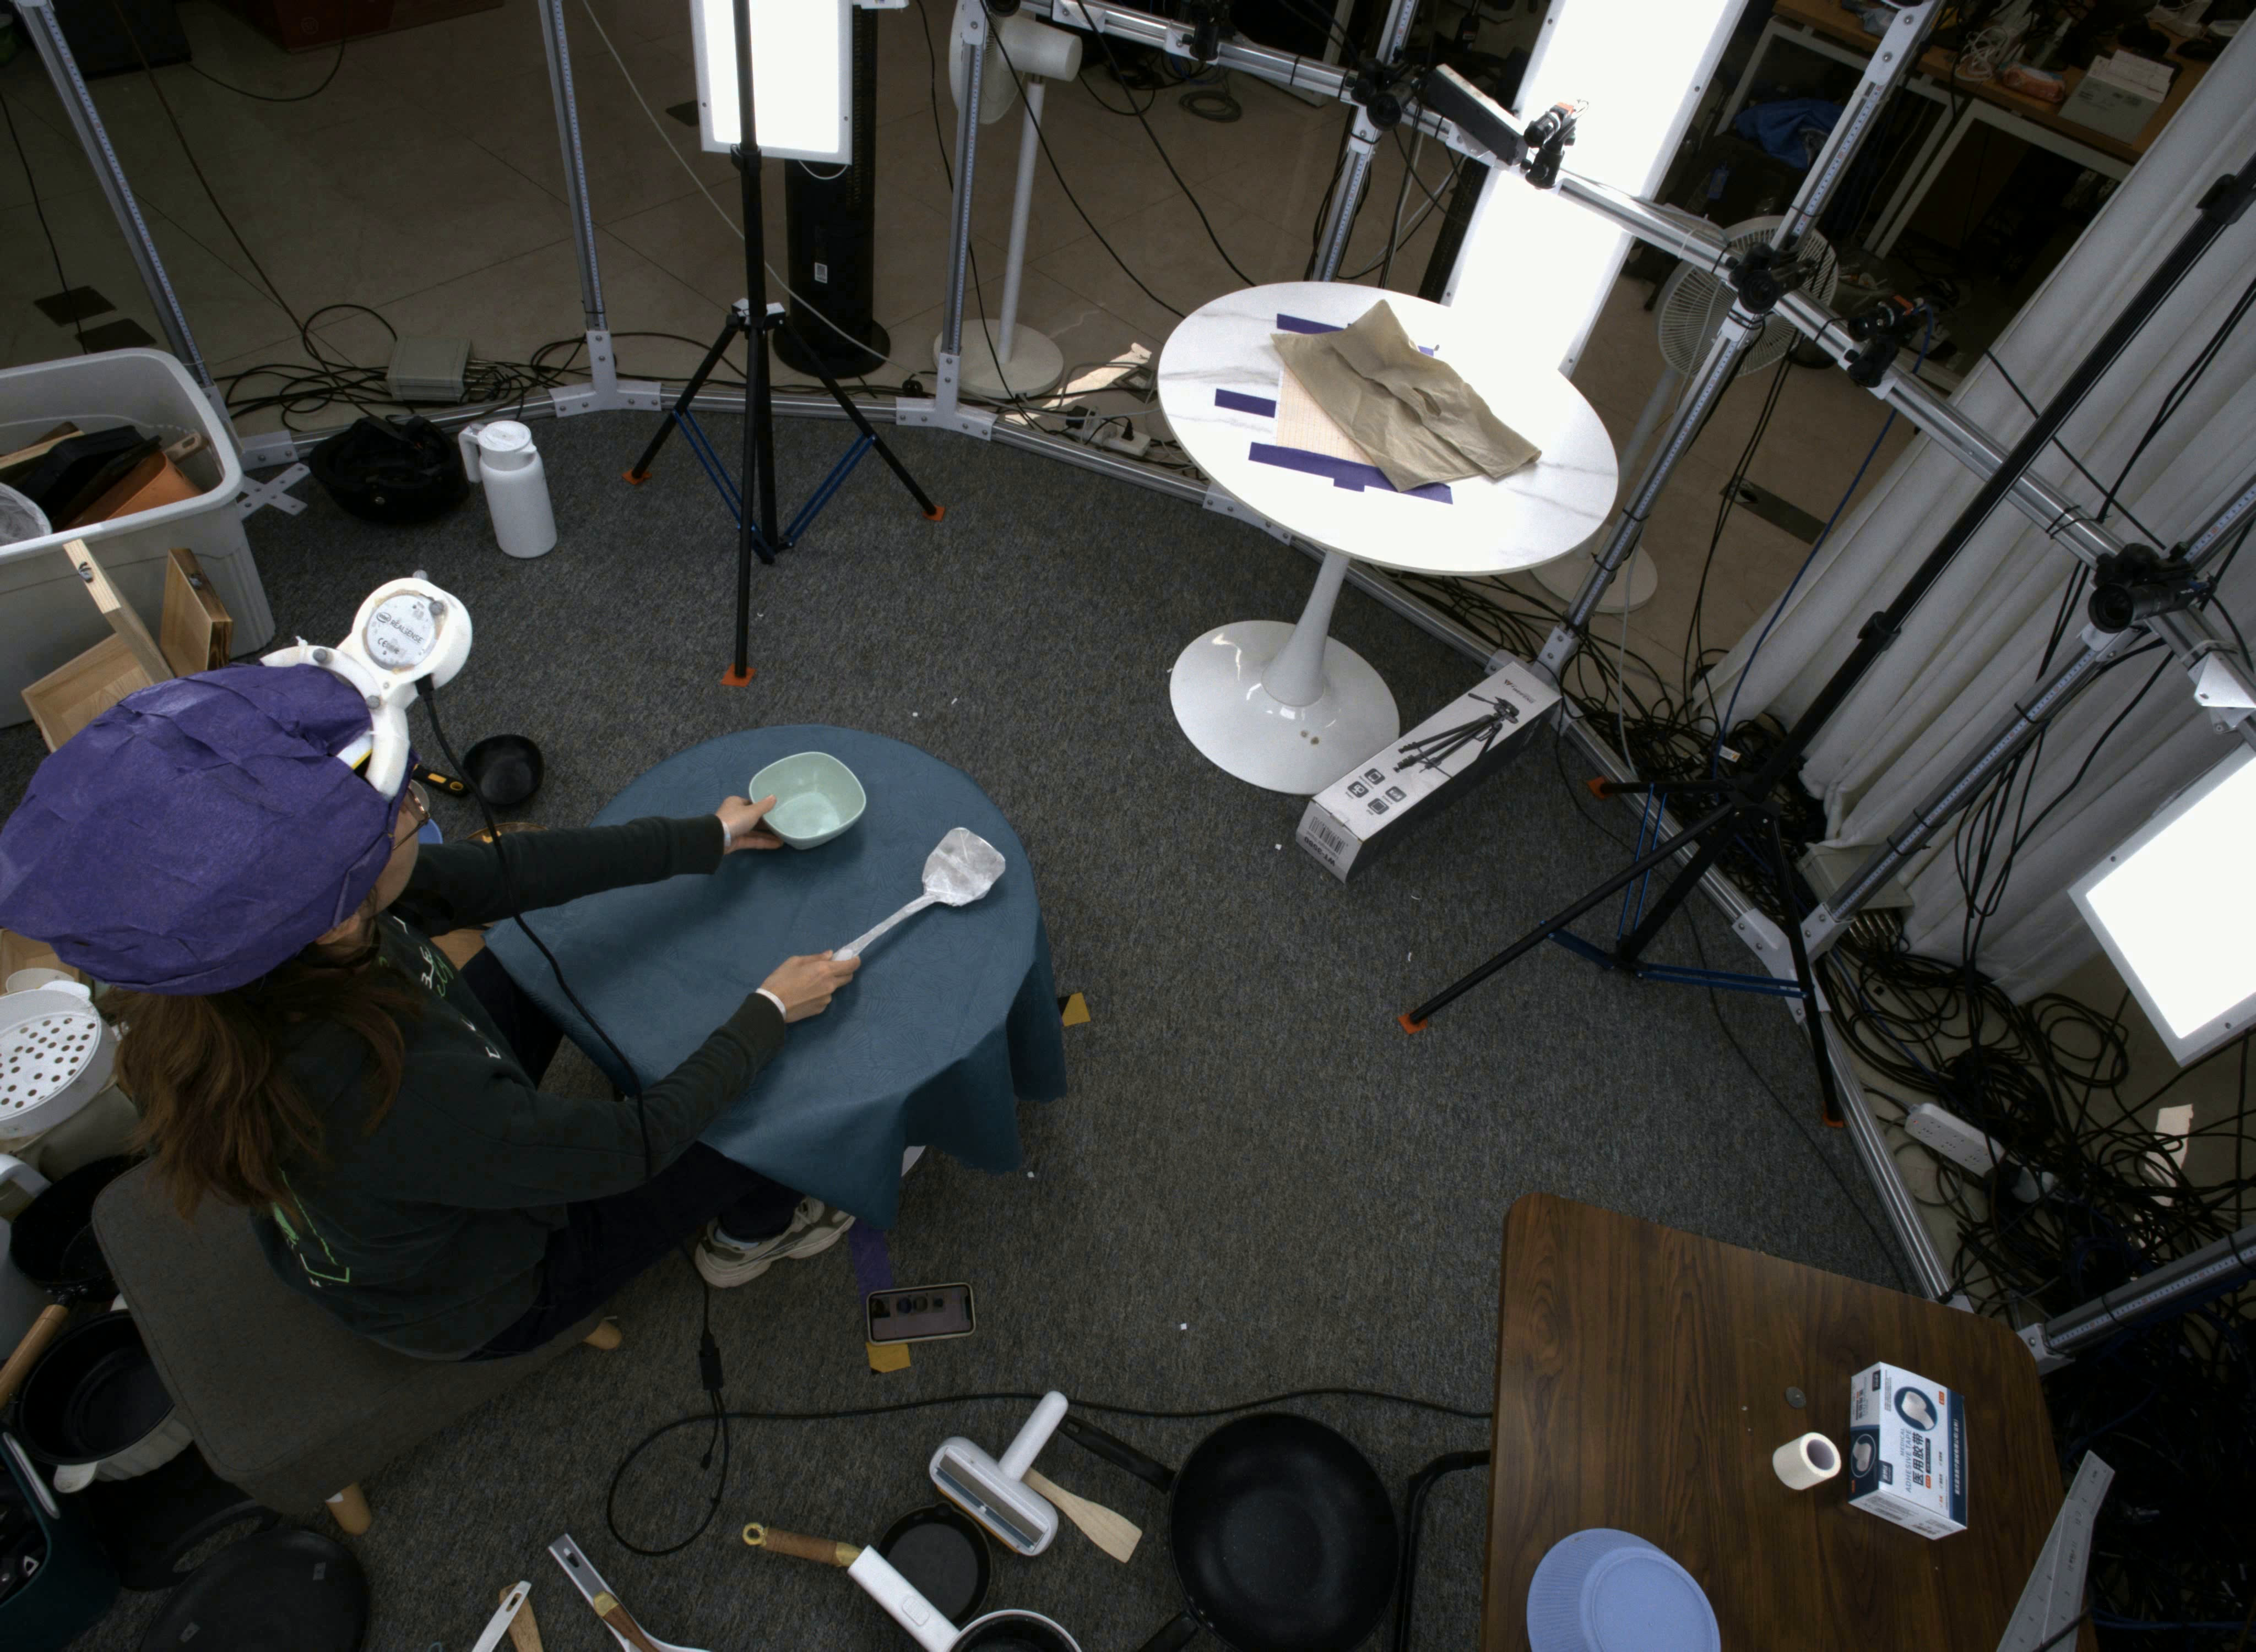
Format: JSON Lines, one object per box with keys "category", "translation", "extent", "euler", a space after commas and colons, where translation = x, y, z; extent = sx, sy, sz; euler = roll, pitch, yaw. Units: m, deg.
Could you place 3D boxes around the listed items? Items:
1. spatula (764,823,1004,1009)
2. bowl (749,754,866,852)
{"category": "spatula", "translation": [-0.306, 0.117, 1.632], "extent": [0.096, 0.046, 0.365], "euler": [39, 51, 17]}
{"category": "bowl", "translation": [-0.422, -0.023, 1.709], "extent": [0.151, 0.060, 0.148], "euler": [8, 49, -8]}
